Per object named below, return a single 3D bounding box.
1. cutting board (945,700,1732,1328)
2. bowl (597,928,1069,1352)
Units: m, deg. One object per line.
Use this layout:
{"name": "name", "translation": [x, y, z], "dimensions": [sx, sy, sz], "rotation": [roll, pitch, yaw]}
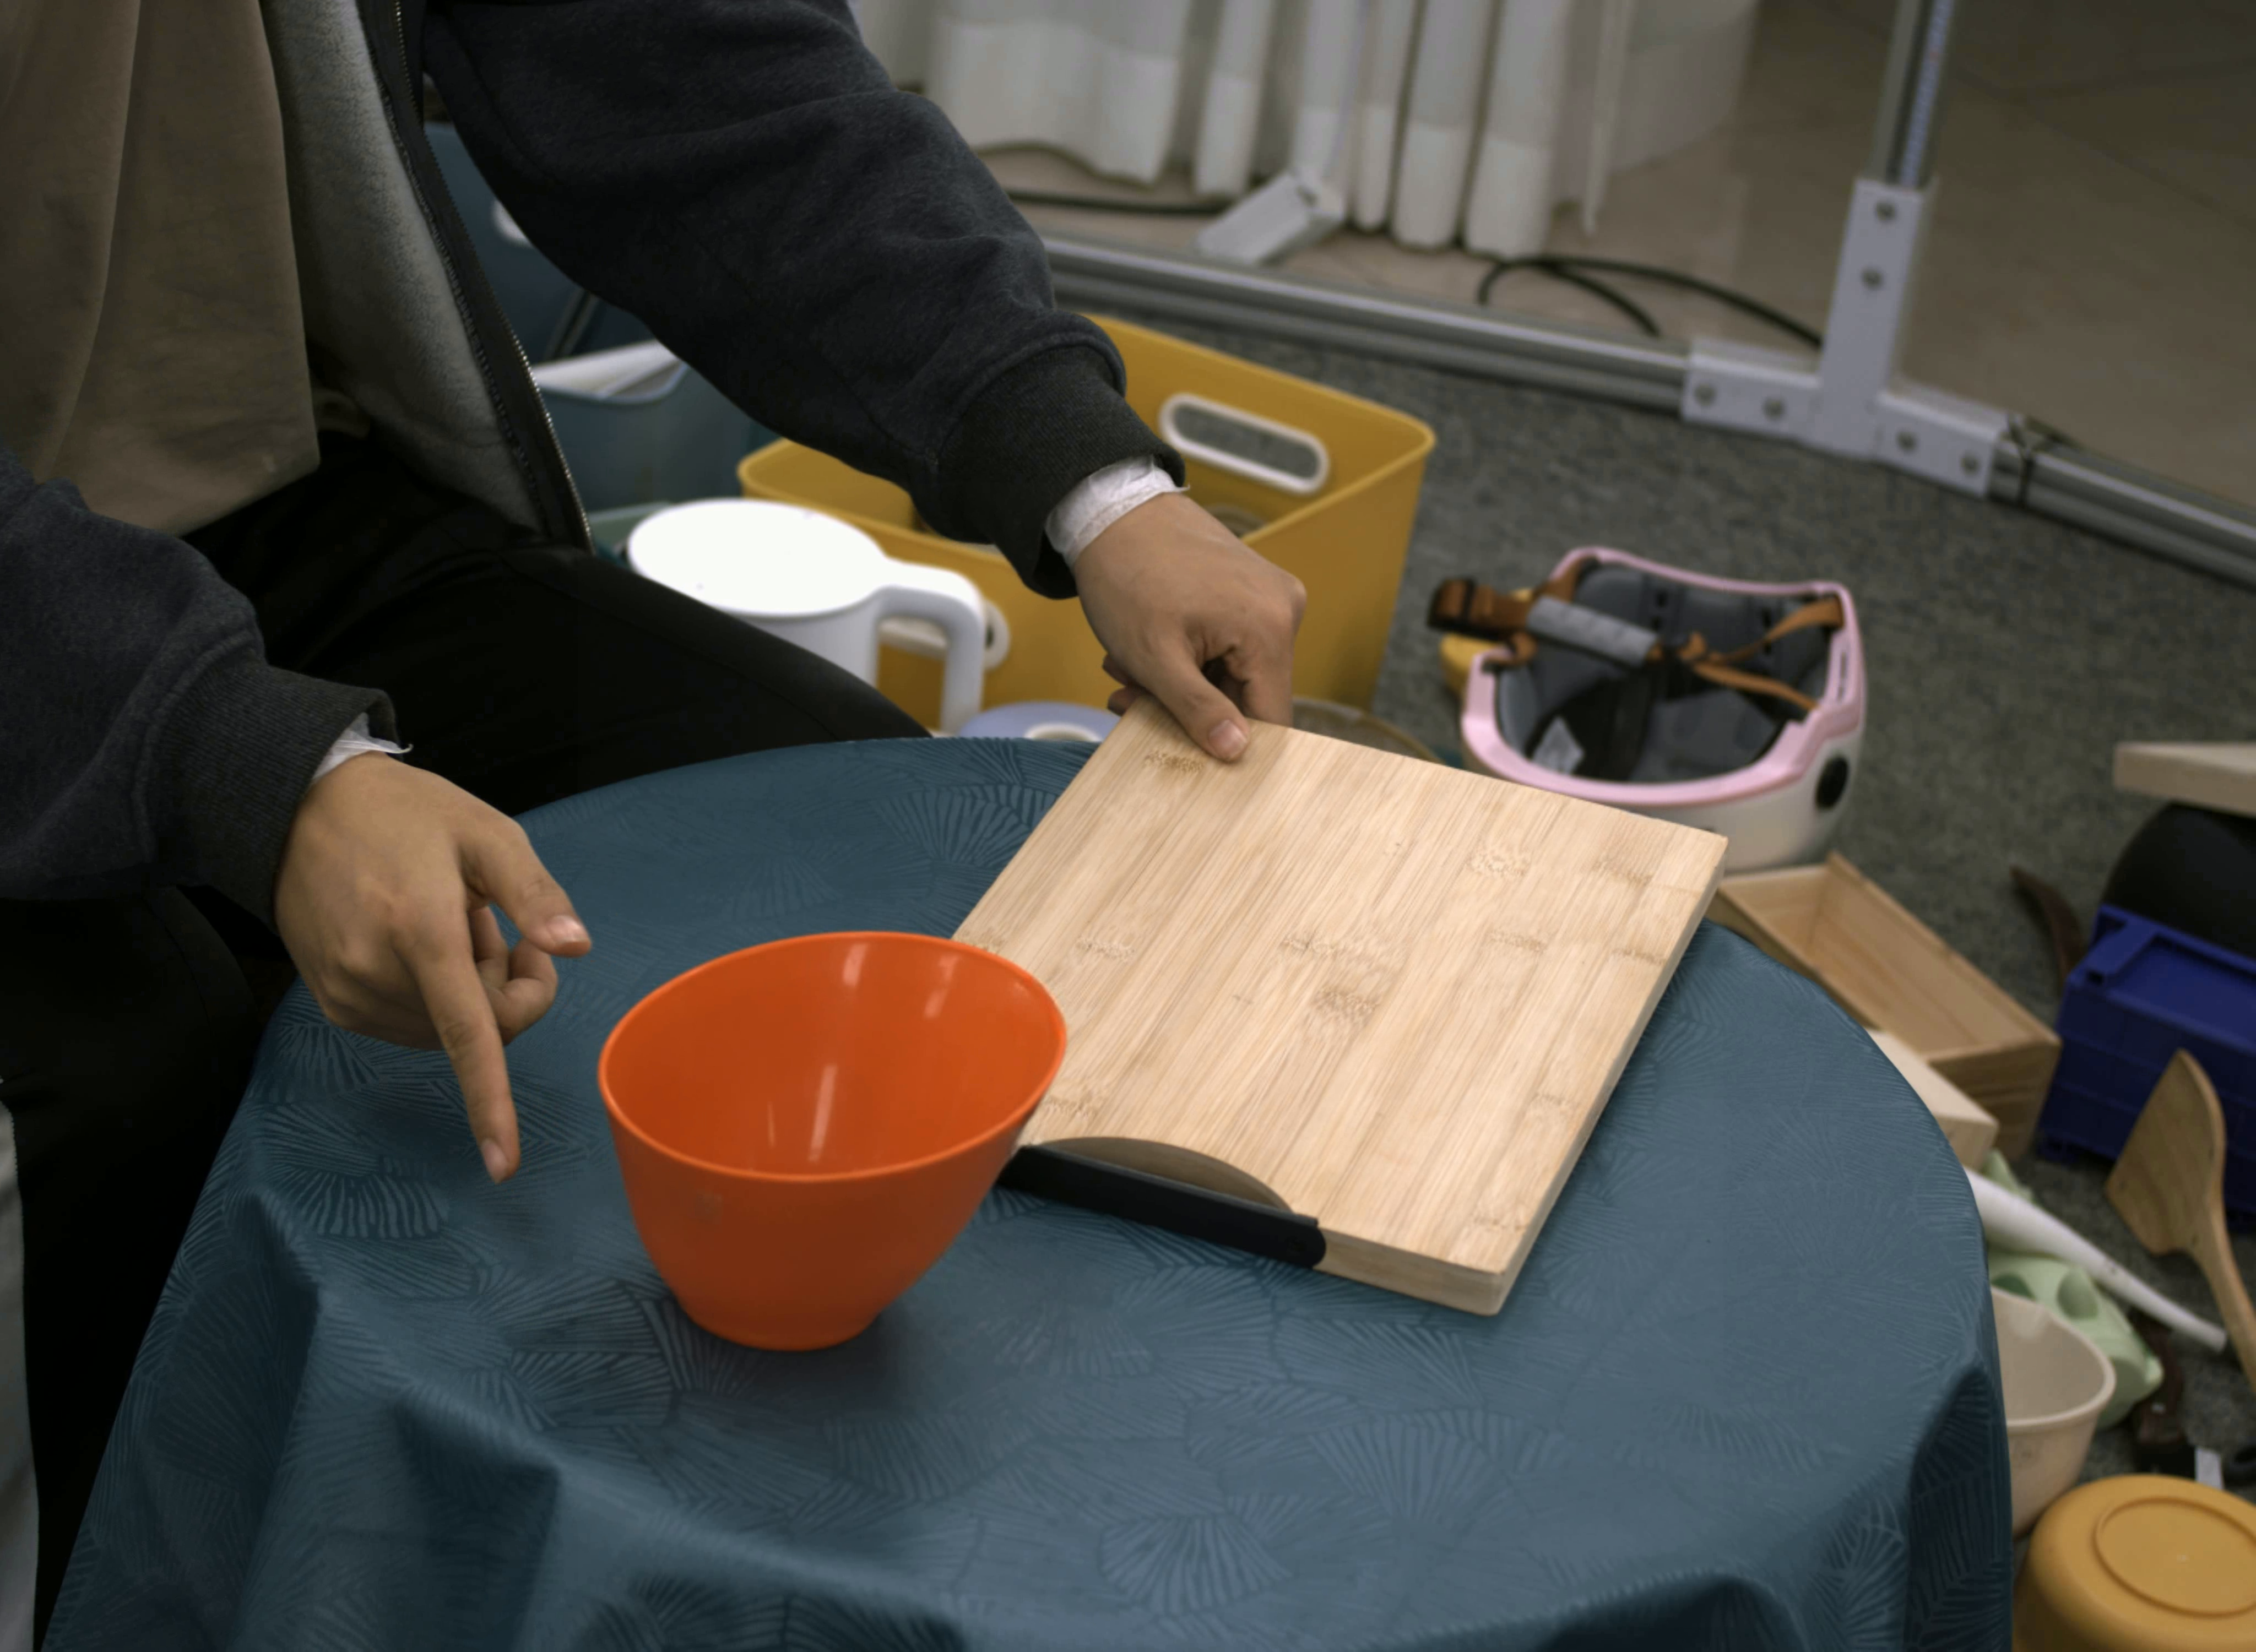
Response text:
{"name": "cutting board", "translation": [0.061, 0.059, 1.917], "dimensions": [0.251, 0.023, 0.349], "rotation": [13, 29, 14]}
{"name": "bowl", "translation": [-0.098, 0.107, 1.699], "dimensions": [0.147, 0.104, 0.149], "rotation": [6, 29, -4]}
